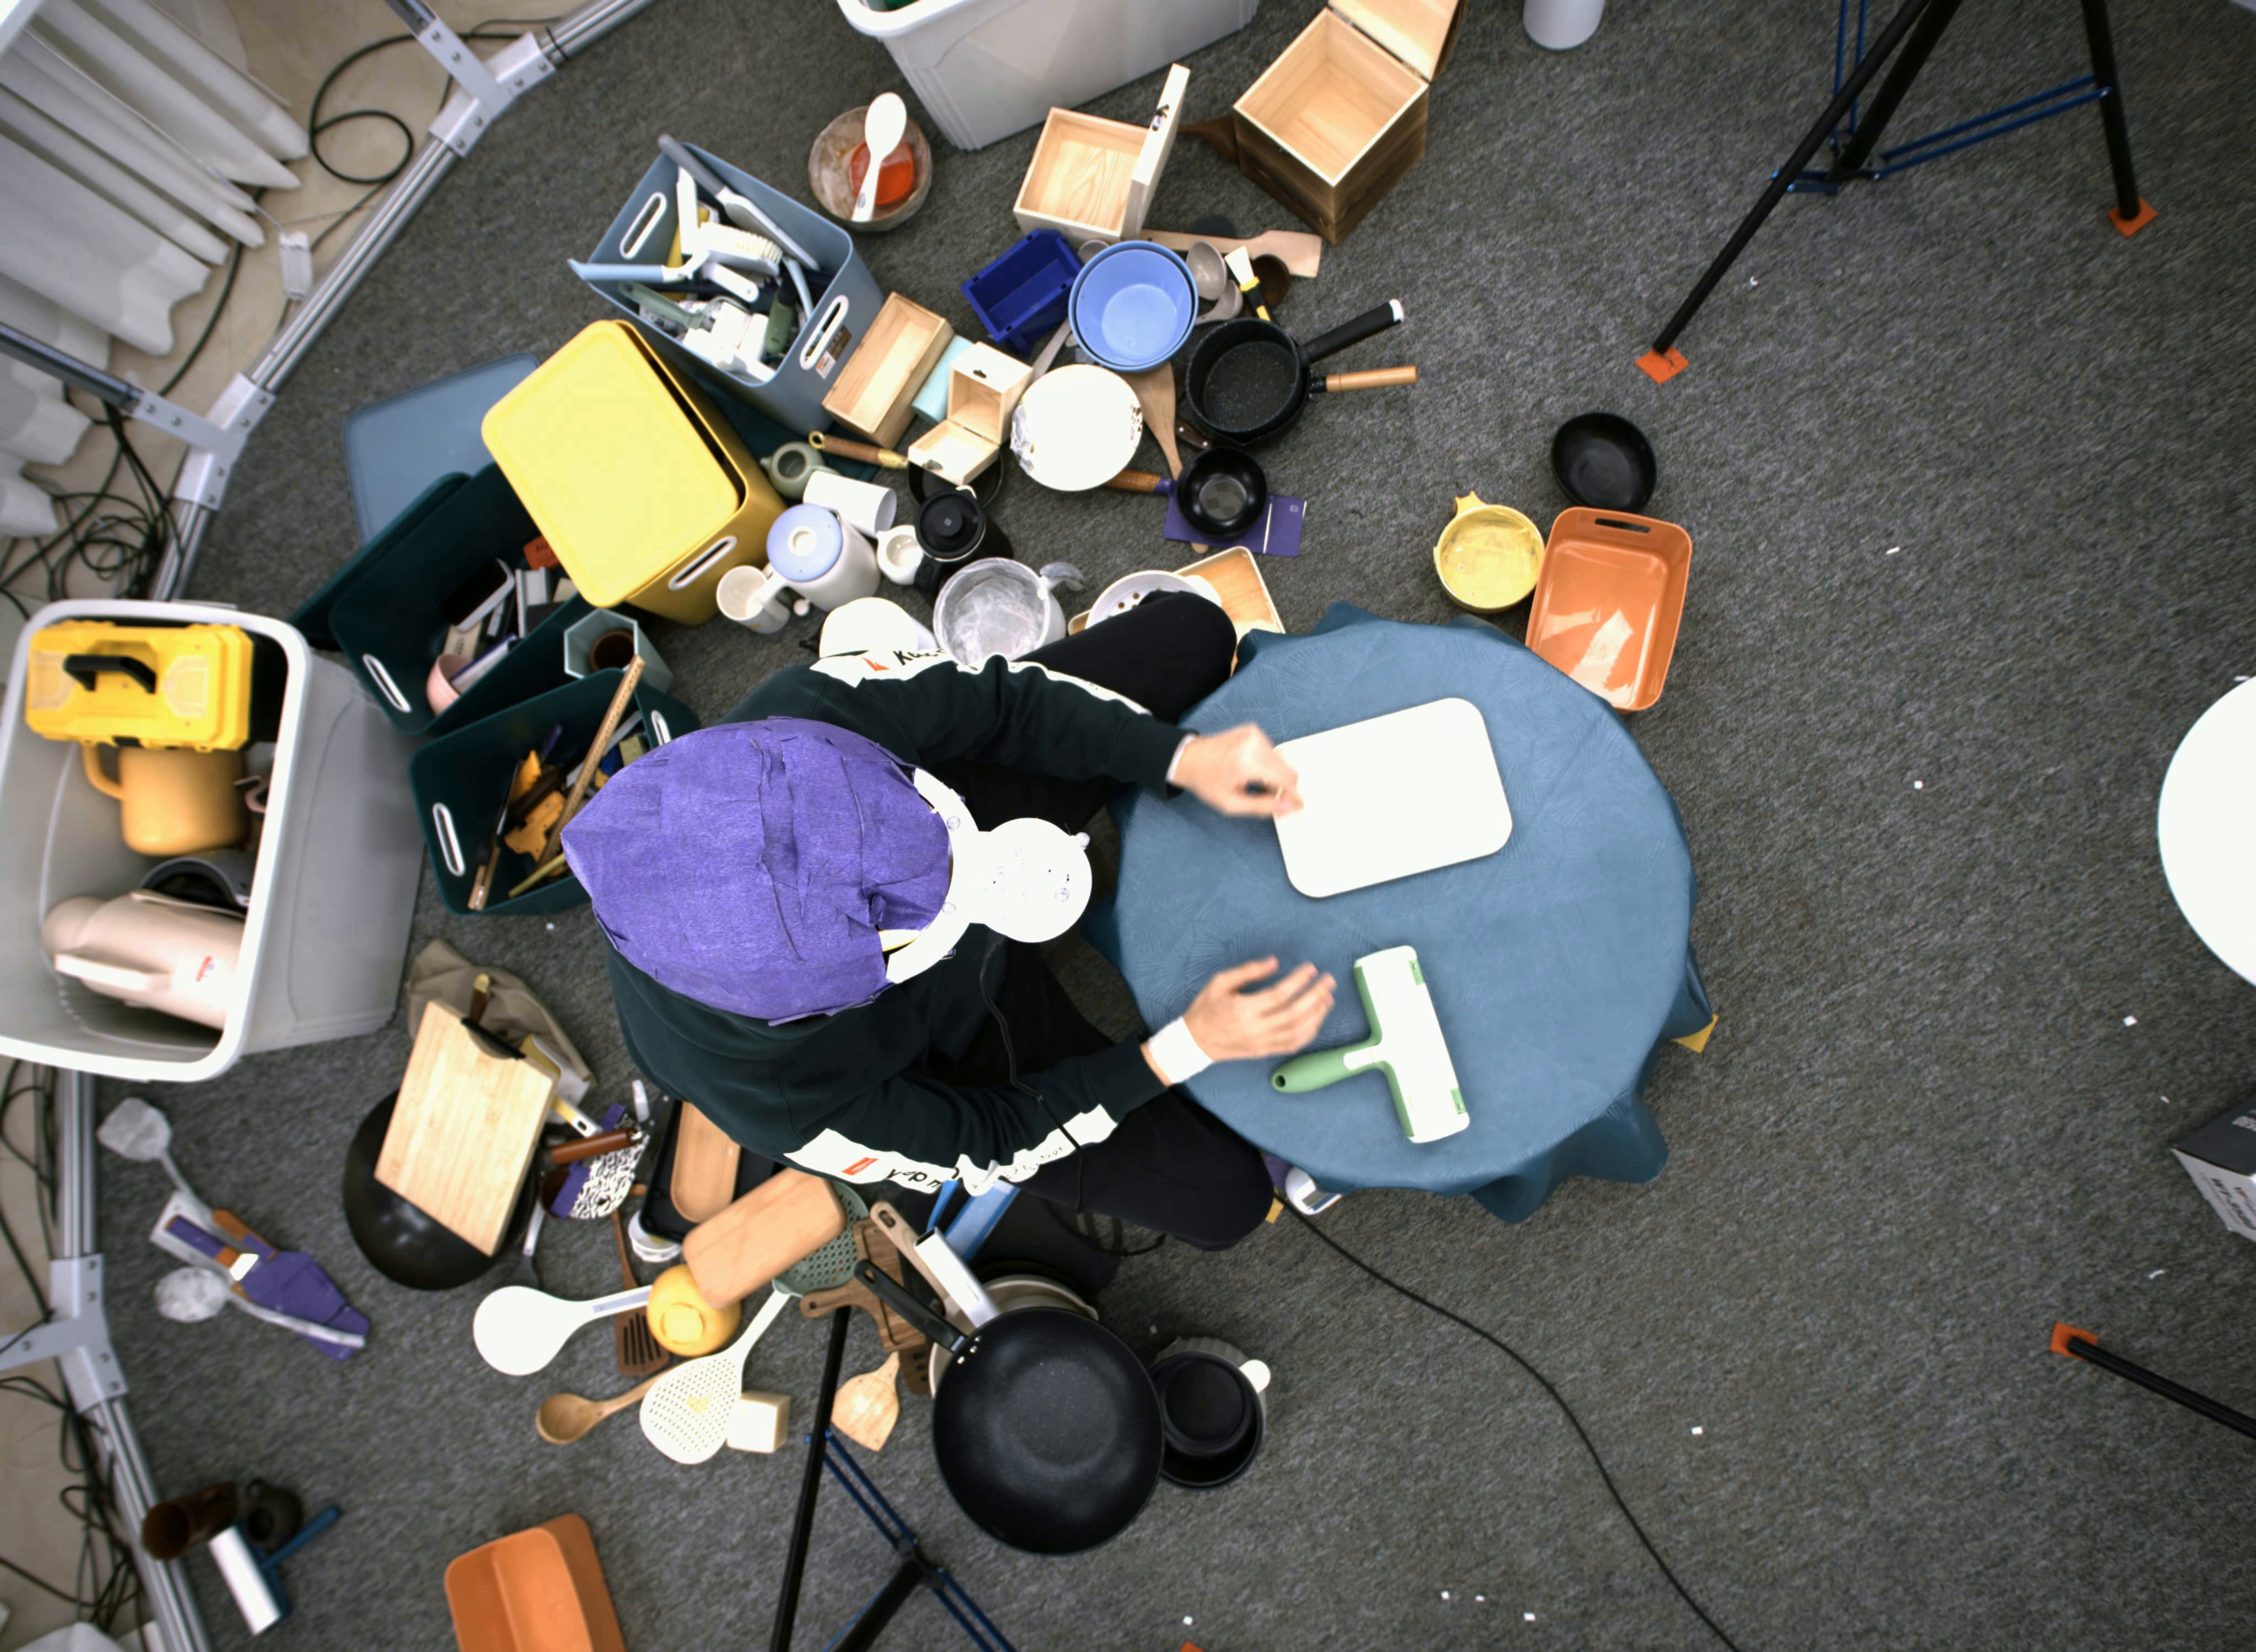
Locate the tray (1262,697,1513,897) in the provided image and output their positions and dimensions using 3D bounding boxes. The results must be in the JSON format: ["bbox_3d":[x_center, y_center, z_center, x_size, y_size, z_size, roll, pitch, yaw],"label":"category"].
[{"bbox_3d":[0.271,-0.031,1.451,0.241,0.017,0.170,-16,84,9],"label":"tray"}]

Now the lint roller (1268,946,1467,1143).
[{"bbox_3d":[0.232,0.238,1.415,0.184,0.082,0.197,-17,84,5],"label":"lint roller"}]
